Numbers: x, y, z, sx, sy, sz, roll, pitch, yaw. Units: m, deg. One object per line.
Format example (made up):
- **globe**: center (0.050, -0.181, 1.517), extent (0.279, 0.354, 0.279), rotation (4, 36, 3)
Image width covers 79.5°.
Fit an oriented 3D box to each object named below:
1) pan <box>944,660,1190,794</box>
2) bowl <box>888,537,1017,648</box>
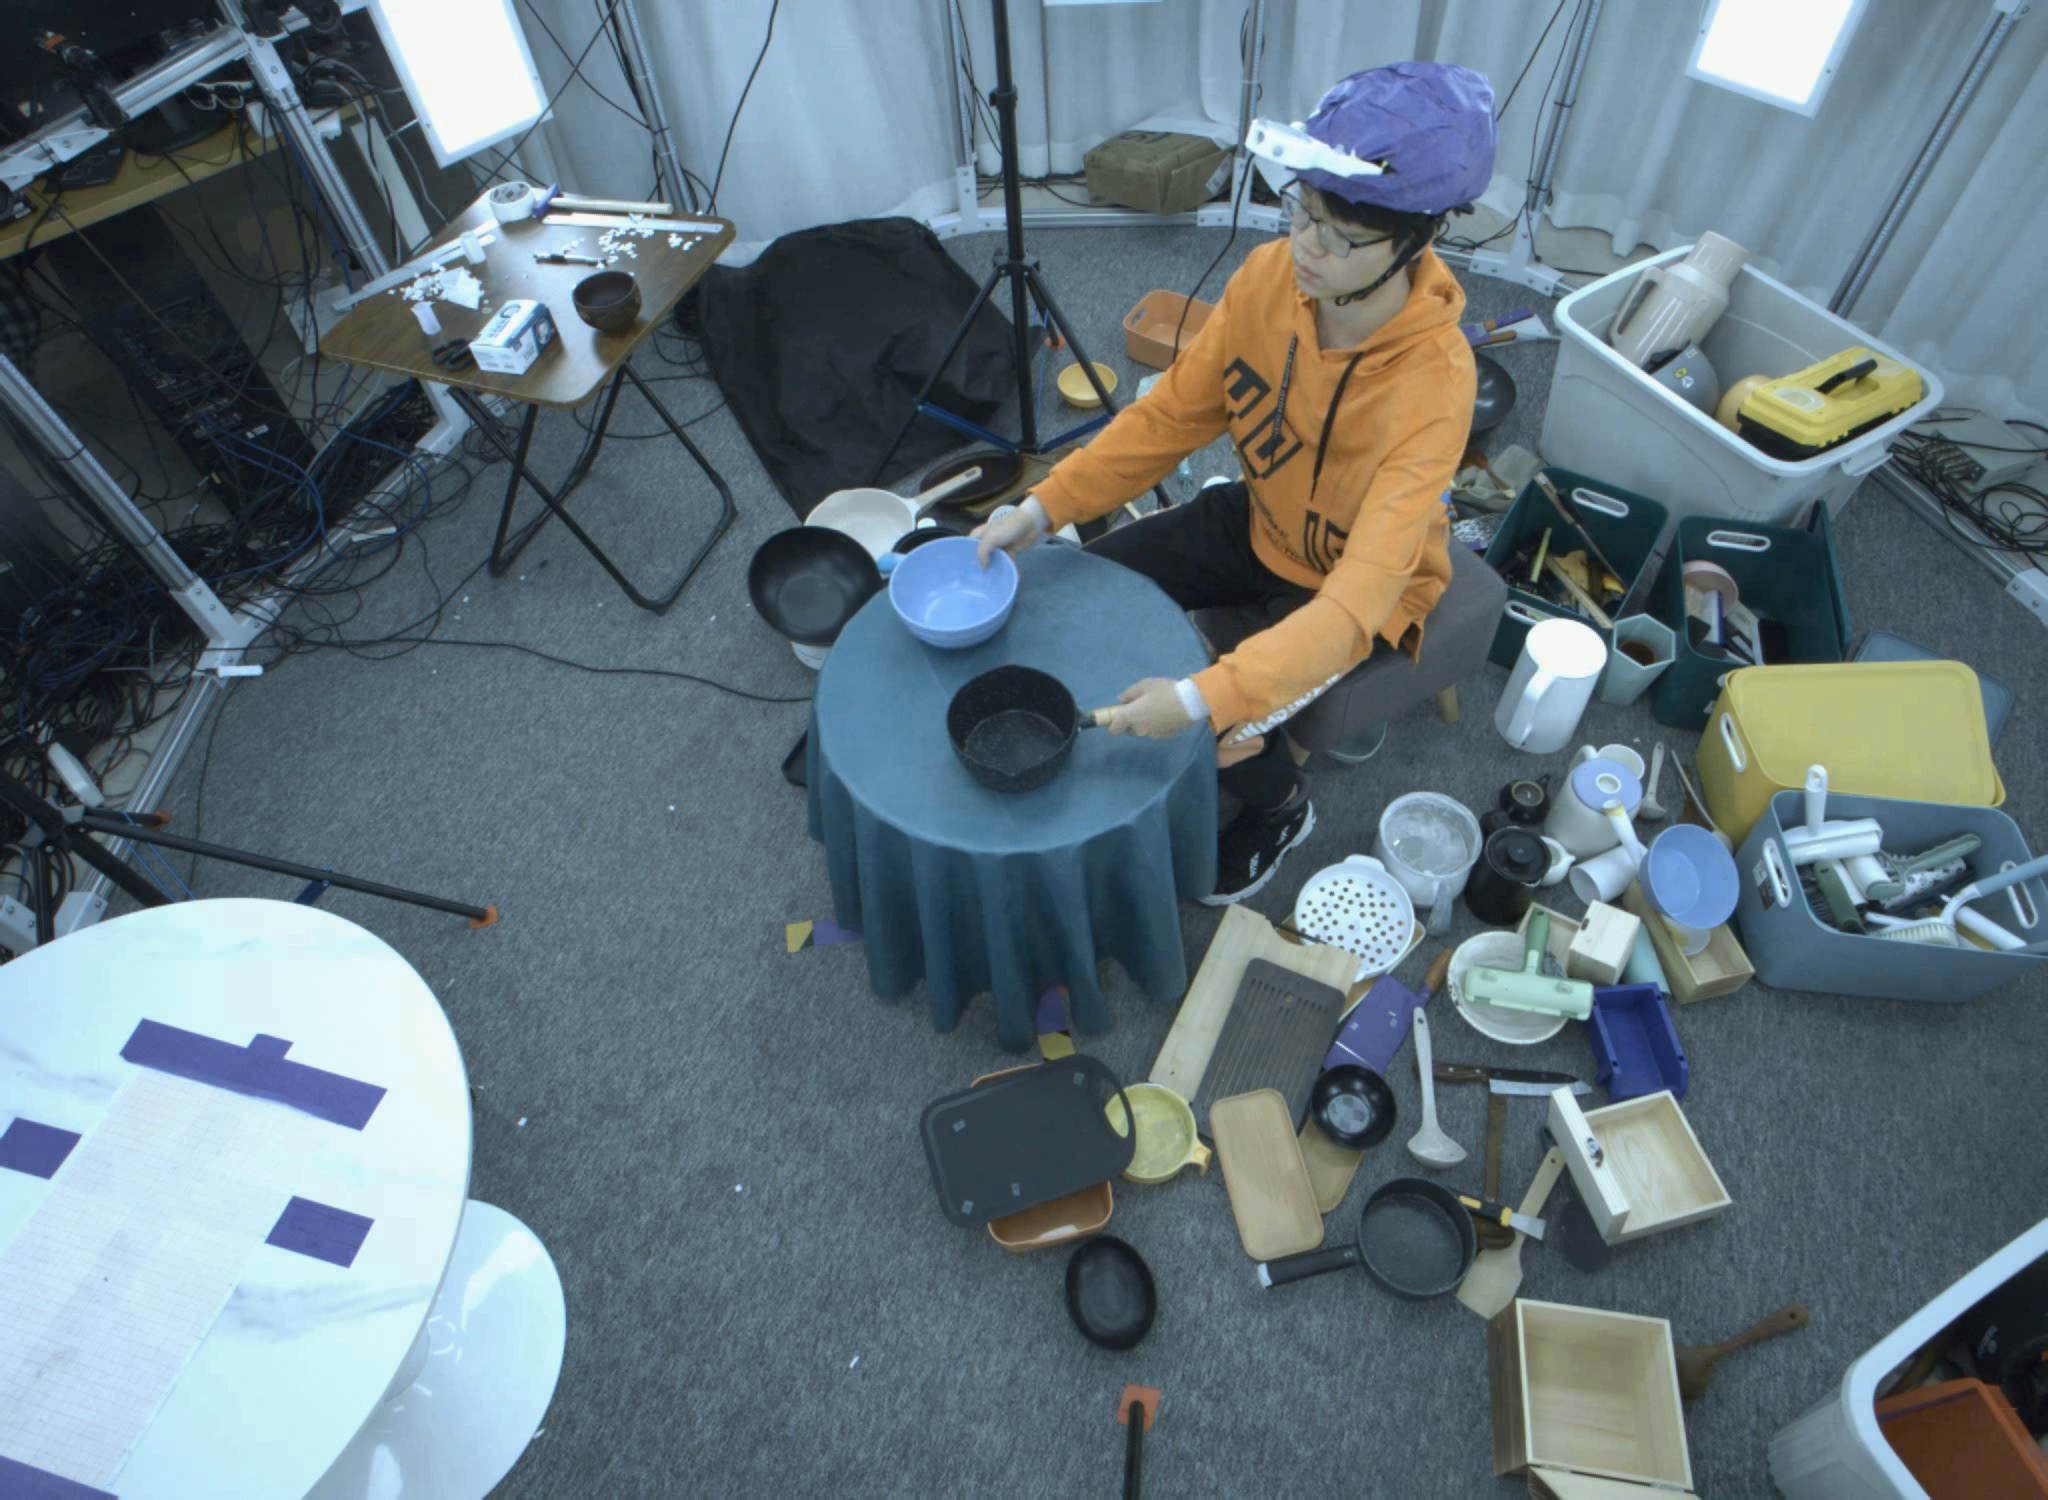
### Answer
- **pan**: center (0.062, -0.035, 1.743), extent (0.343, 0.109, 0.205), rotation (-4, 54, 1)
- **bowl**: center (-0.106, -0.229, 1.894), extent (0.196, 0.096, 0.194), rotation (-1, 54, 3)
